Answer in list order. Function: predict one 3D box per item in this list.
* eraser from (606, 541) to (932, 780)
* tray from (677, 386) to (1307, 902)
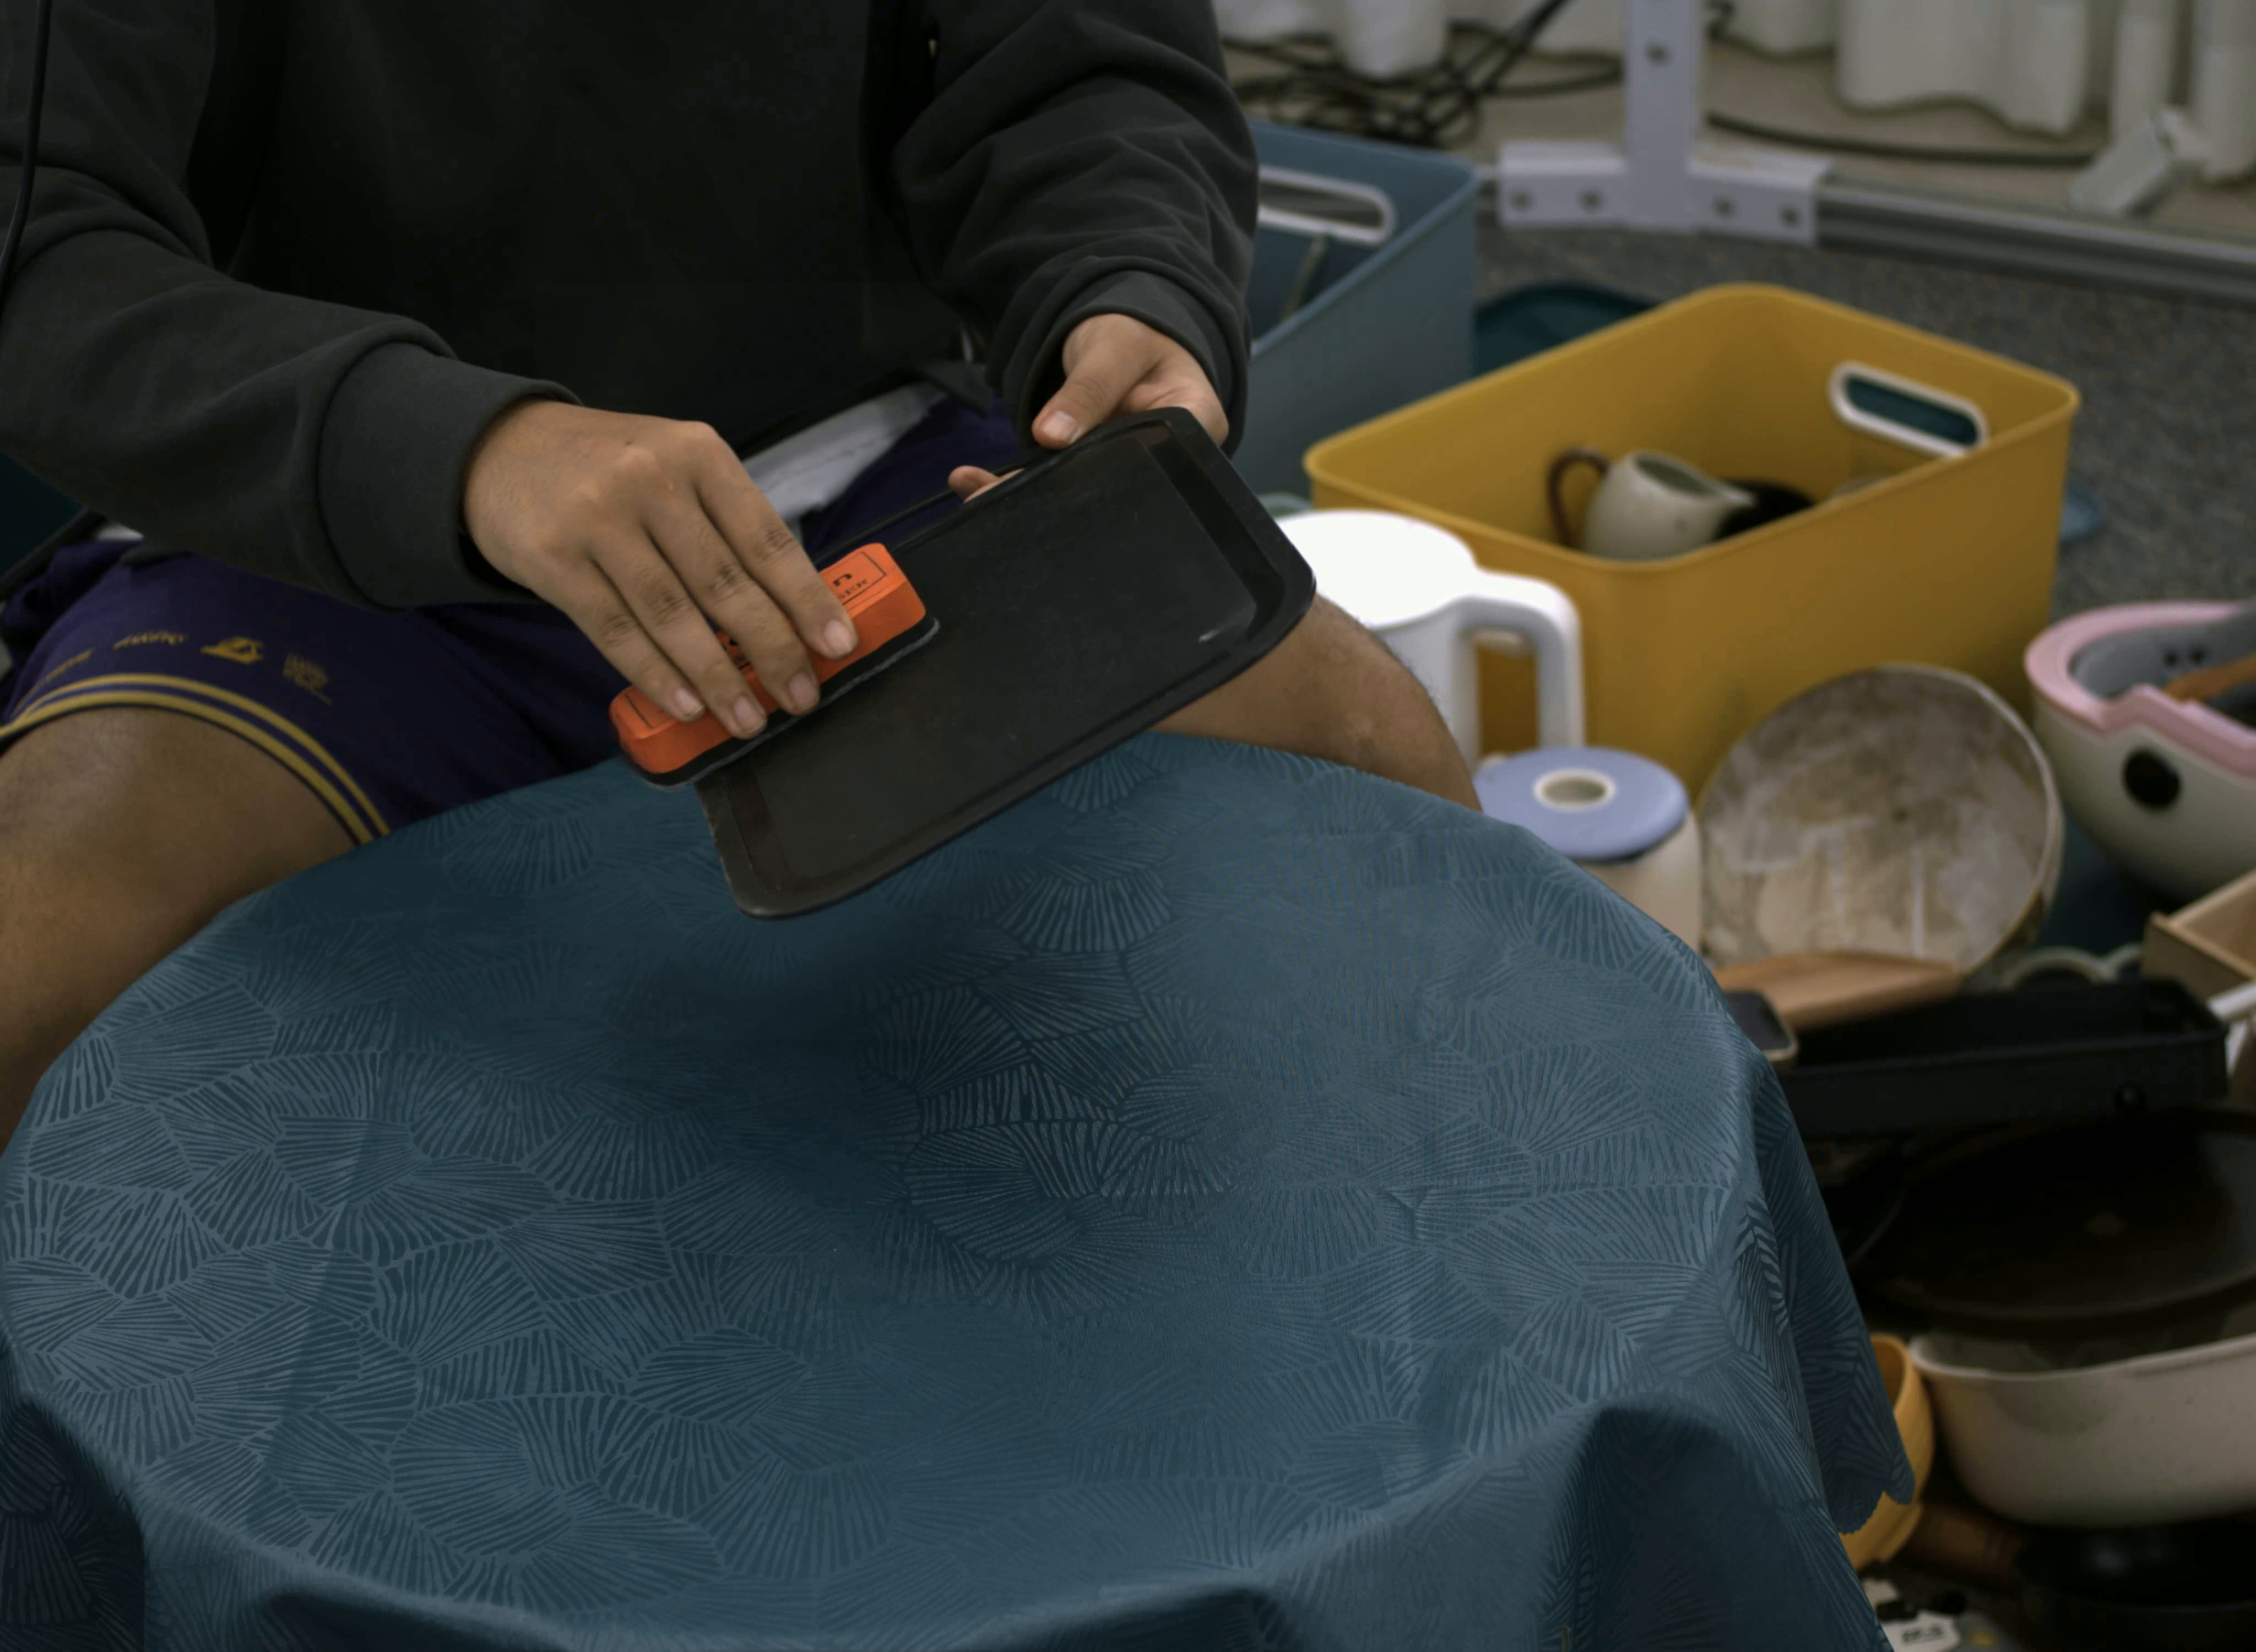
[{"bbox_3d":[-0.121,-0.056,1.888,0.108,0.023,0.059,-30,22,-8],"label":"eraser"},{"bbox_3d":[-0.056,-0.068,1.875,0.210,0.010,0.328,-29,21,0],"label":"tray"}]
